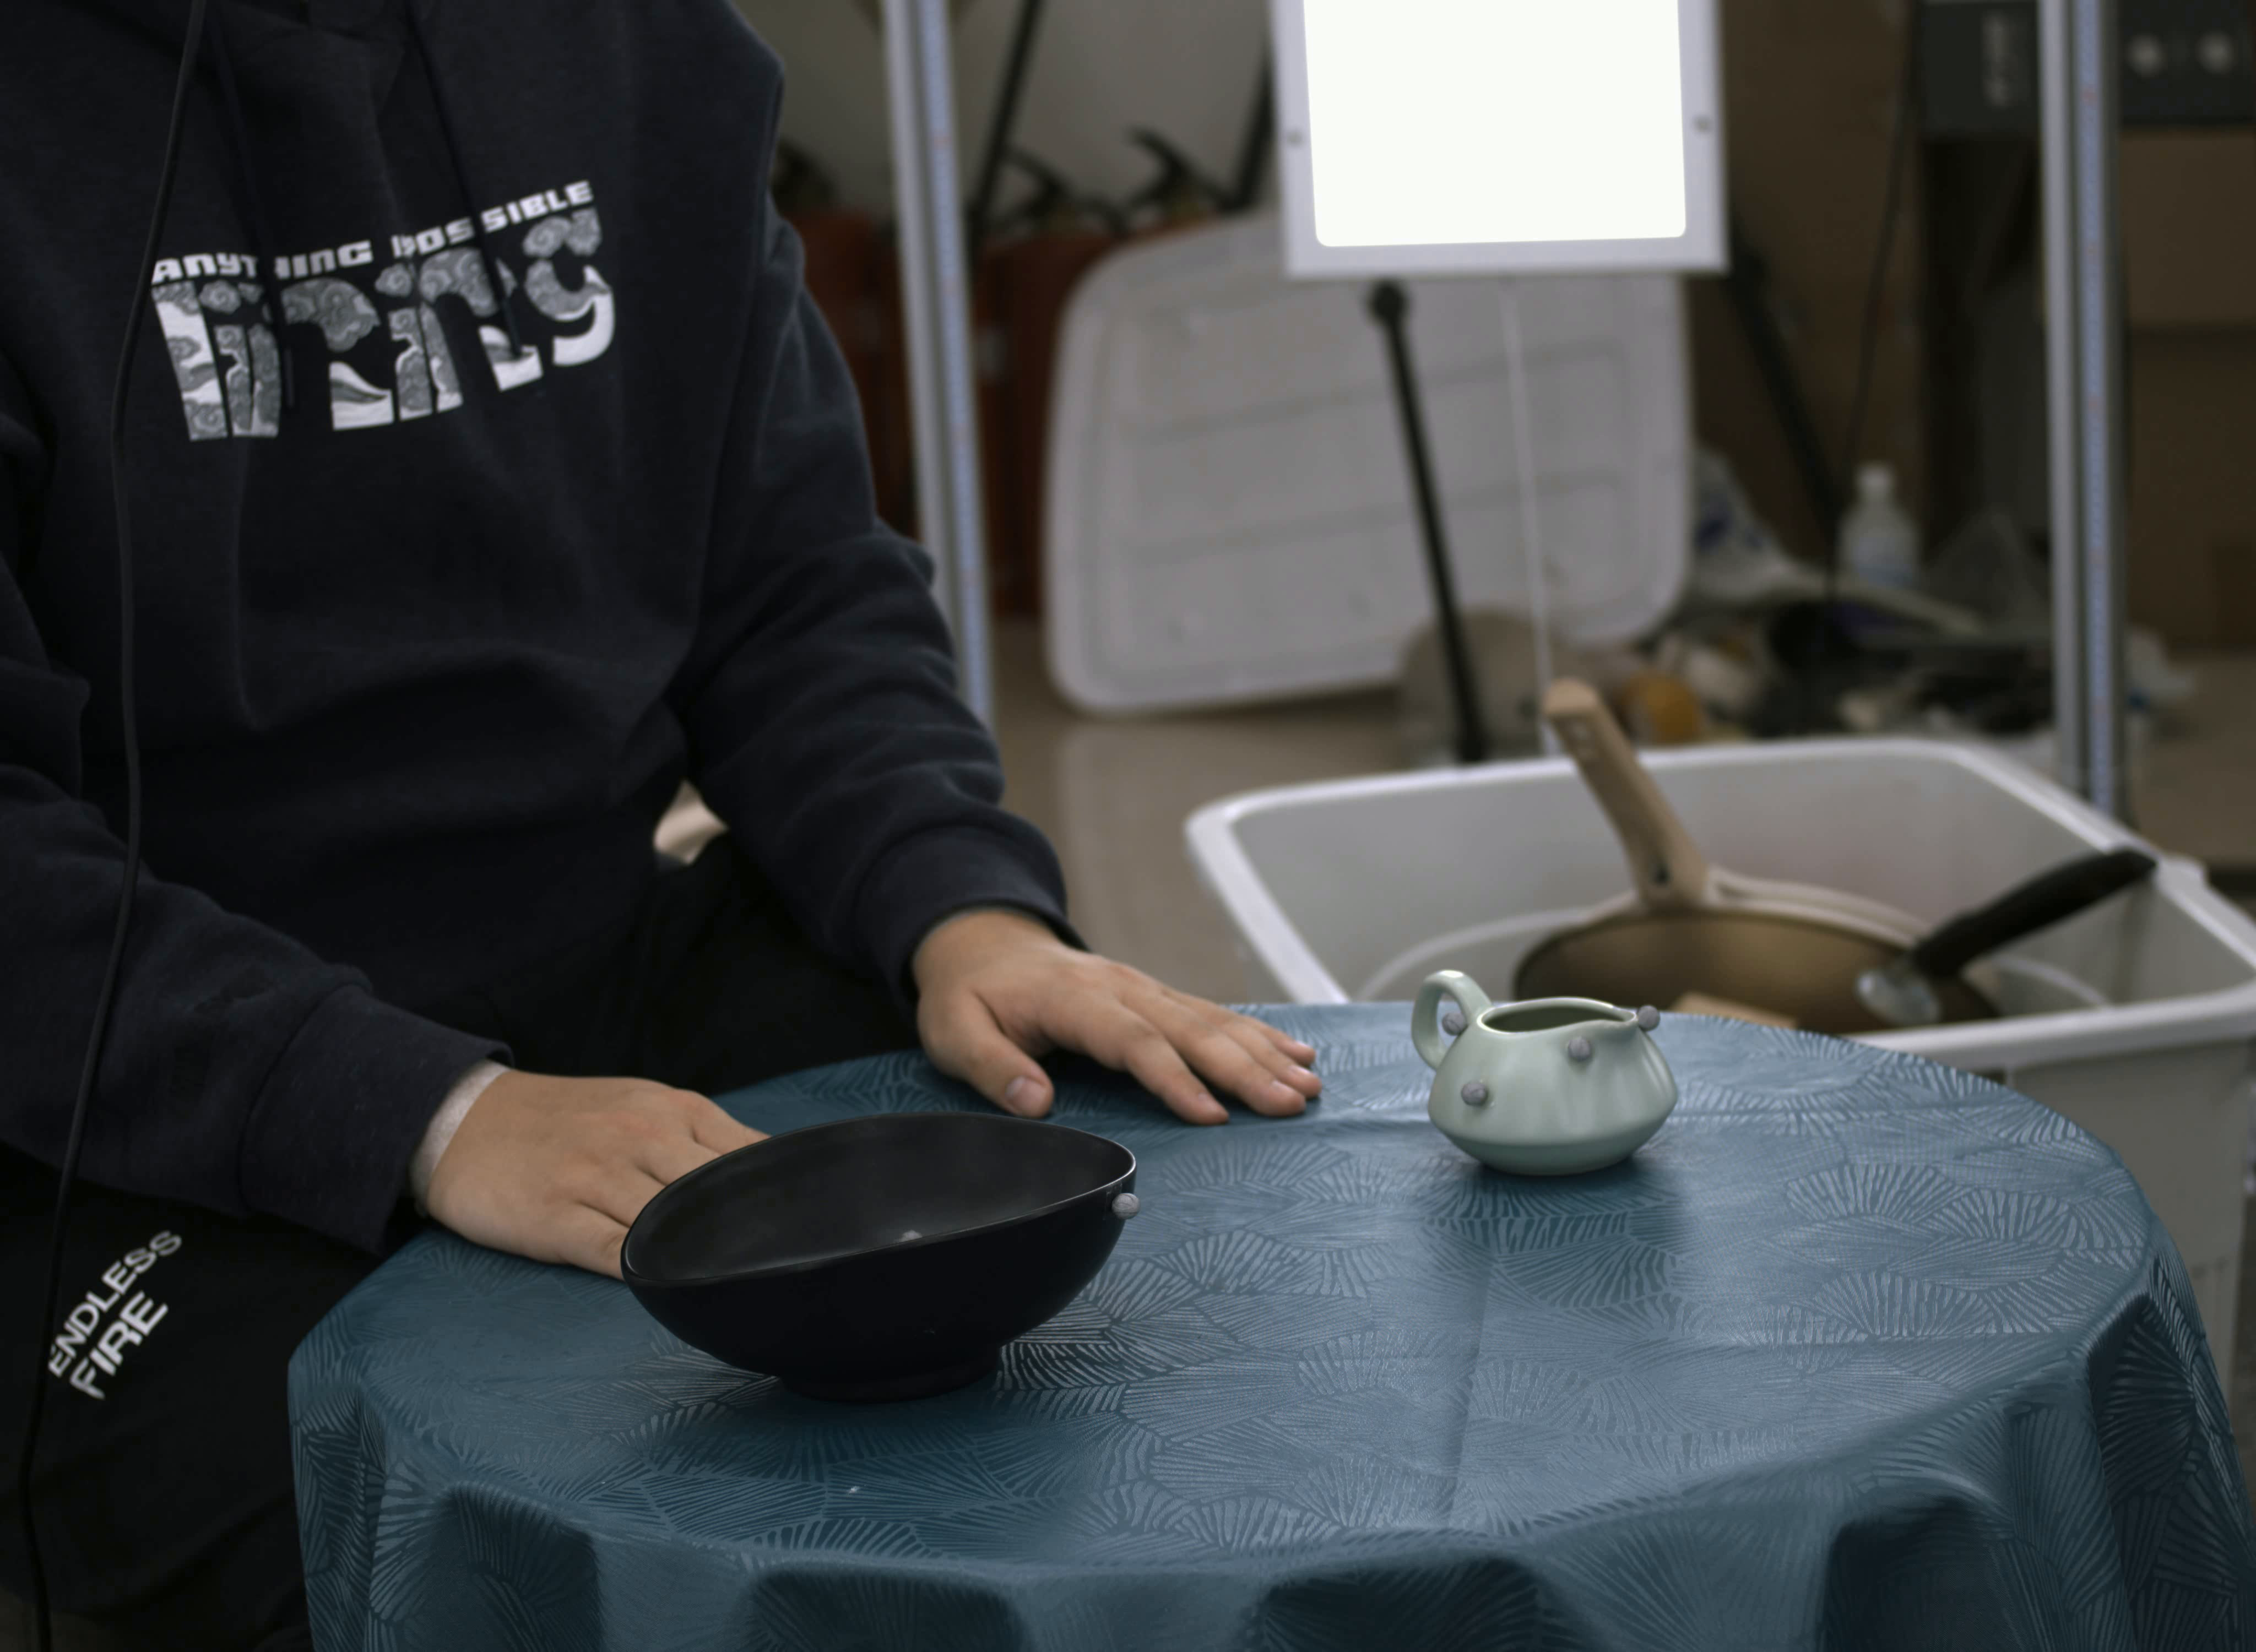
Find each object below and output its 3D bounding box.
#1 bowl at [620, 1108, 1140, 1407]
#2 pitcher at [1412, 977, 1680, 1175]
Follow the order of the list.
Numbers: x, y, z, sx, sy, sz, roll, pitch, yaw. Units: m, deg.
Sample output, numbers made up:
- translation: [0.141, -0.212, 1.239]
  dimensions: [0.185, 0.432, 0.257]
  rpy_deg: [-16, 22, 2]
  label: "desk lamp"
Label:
- translation: [-0.074, 0.141, 1.732]
  dimensions: [0.167, 0.067, 0.140]
  rpy_deg: [-12, 14, -25]
  label: "bowl"
- translation: [0.139, 0.086, 1.900]
  dimensions: [0.084, 0.060, 0.110]
  rpy_deg: [-15, 15, -40]
  label: "pitcher"
